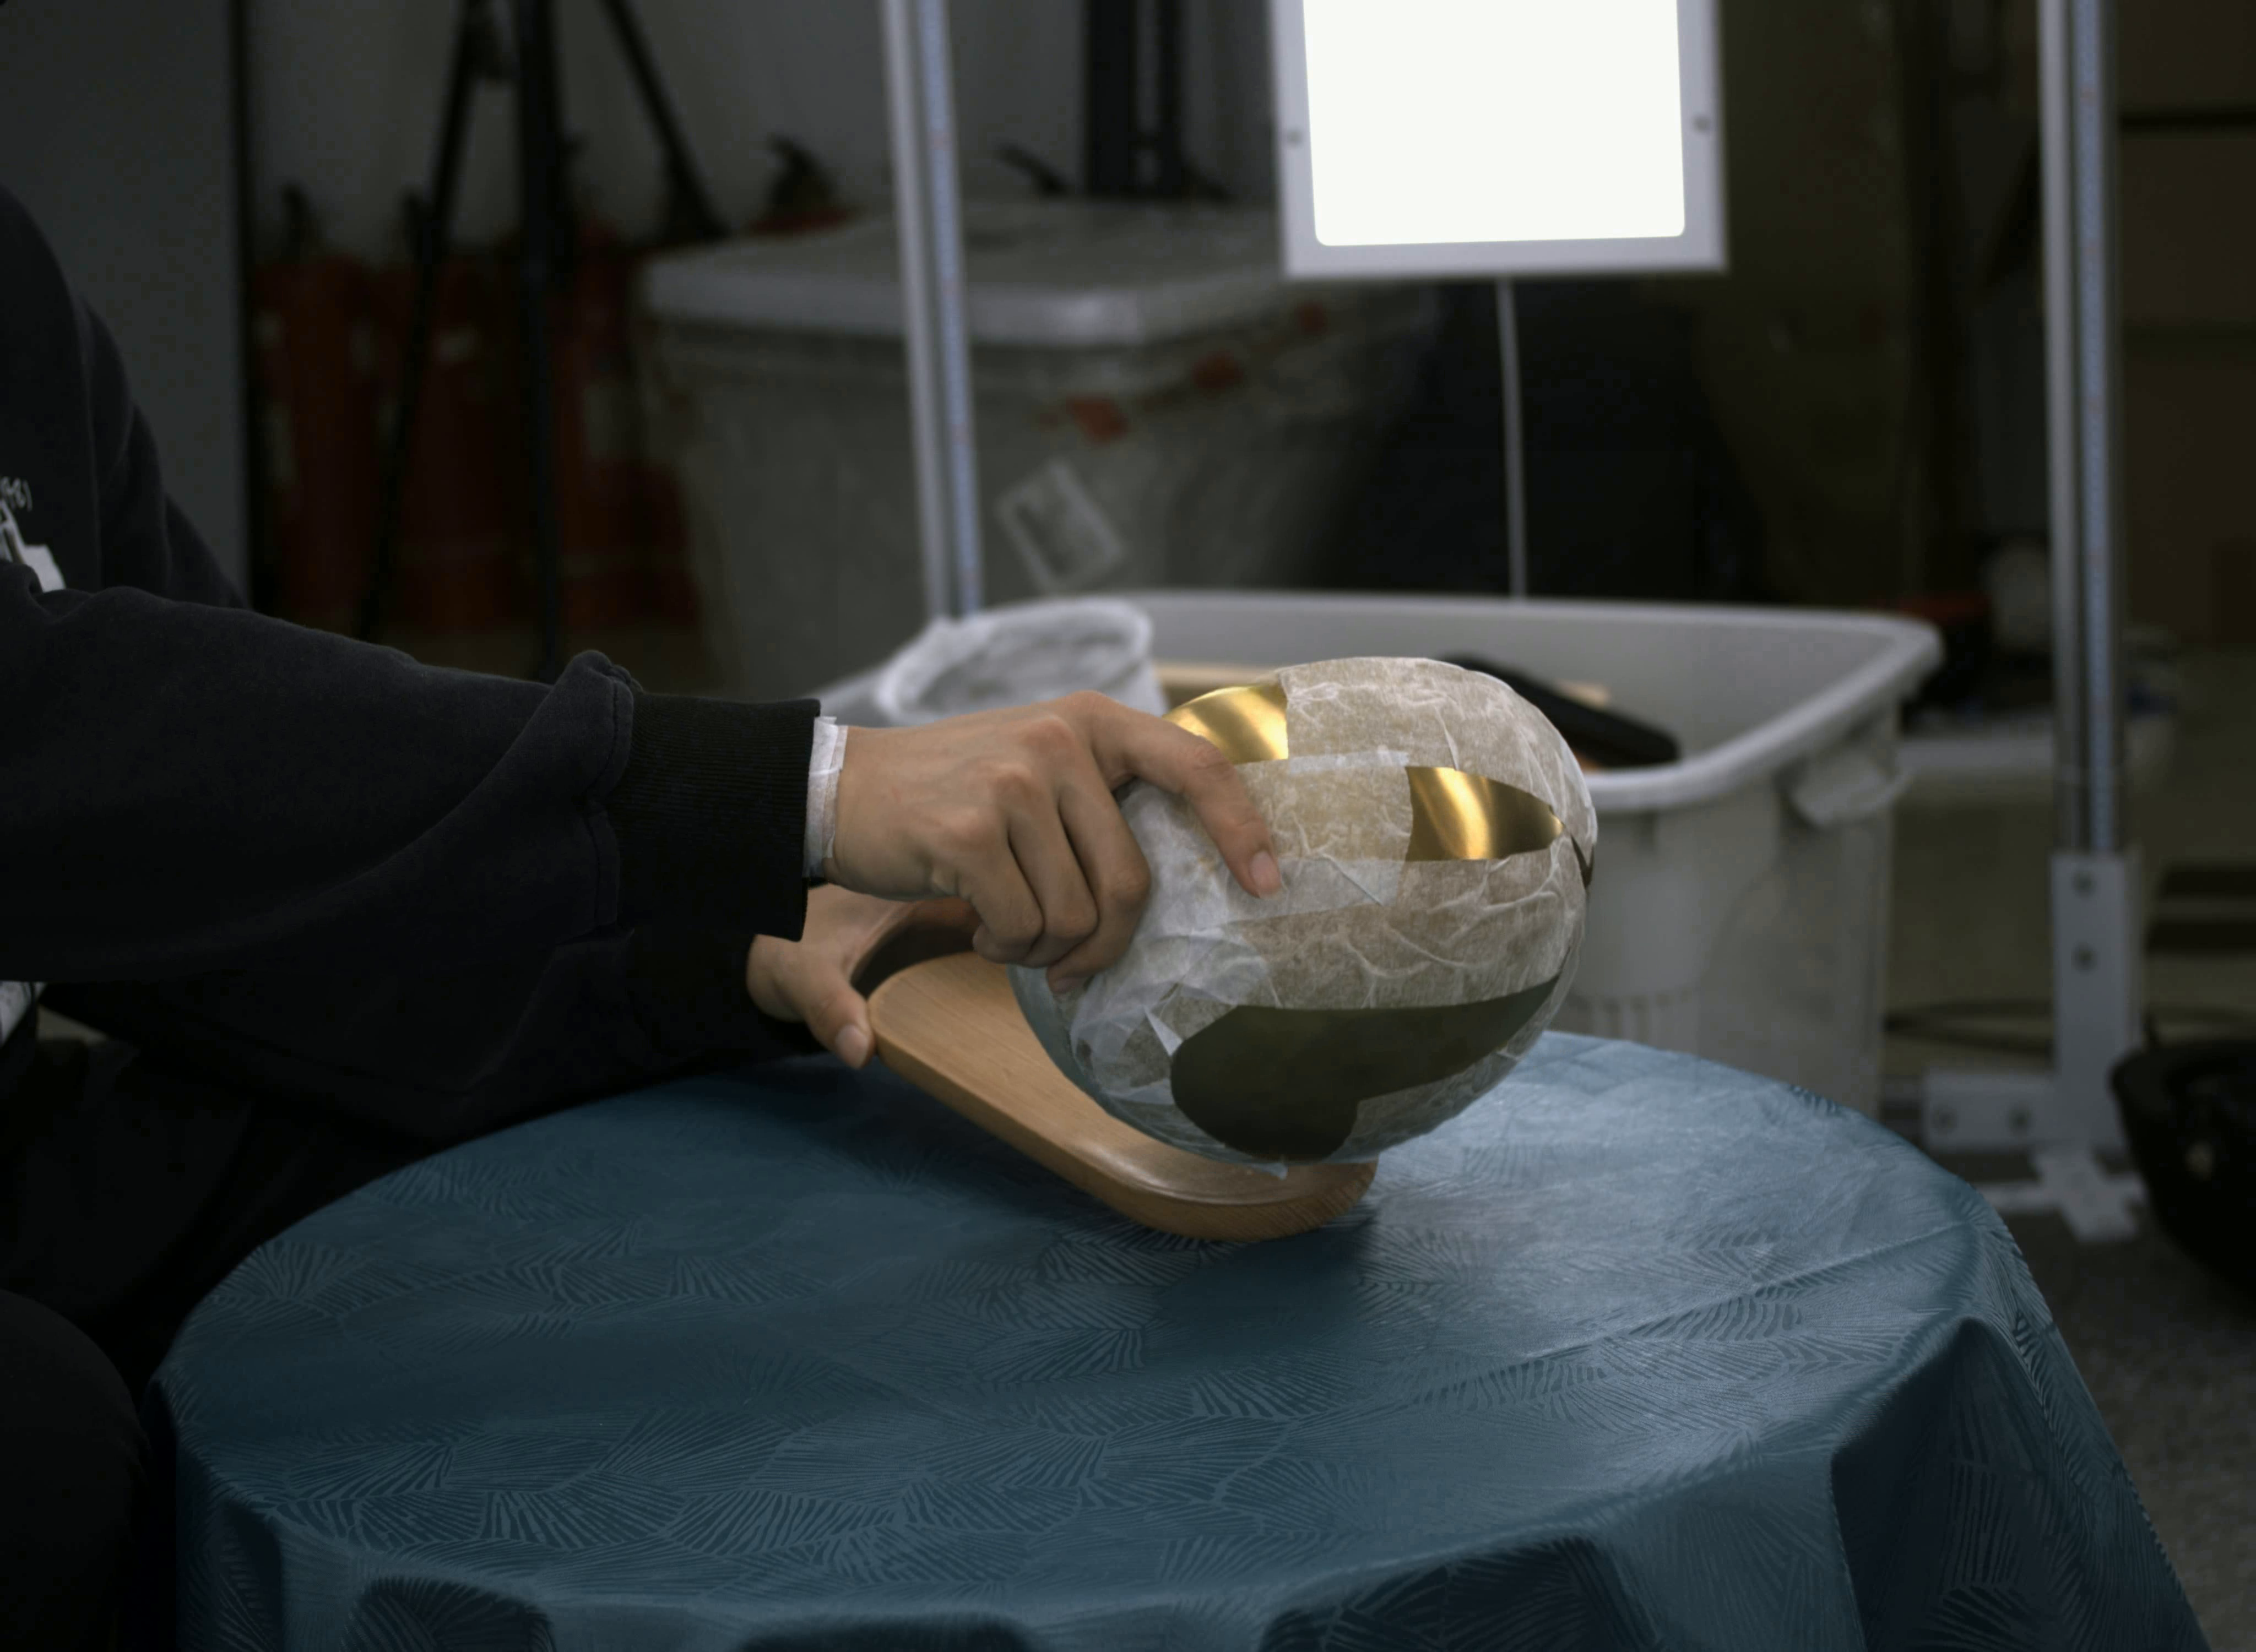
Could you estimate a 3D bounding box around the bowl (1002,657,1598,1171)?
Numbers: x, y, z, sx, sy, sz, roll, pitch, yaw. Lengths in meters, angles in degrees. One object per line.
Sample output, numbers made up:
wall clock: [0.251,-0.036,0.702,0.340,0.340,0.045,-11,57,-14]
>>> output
bowl: [0.064,0.050,1.793,0.212,0.216,0.095,-7,50,-13]

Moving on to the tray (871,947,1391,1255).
tray: [-0.001,0.094,1.920,0.099,0.020,0.235,-21,33,-32]
